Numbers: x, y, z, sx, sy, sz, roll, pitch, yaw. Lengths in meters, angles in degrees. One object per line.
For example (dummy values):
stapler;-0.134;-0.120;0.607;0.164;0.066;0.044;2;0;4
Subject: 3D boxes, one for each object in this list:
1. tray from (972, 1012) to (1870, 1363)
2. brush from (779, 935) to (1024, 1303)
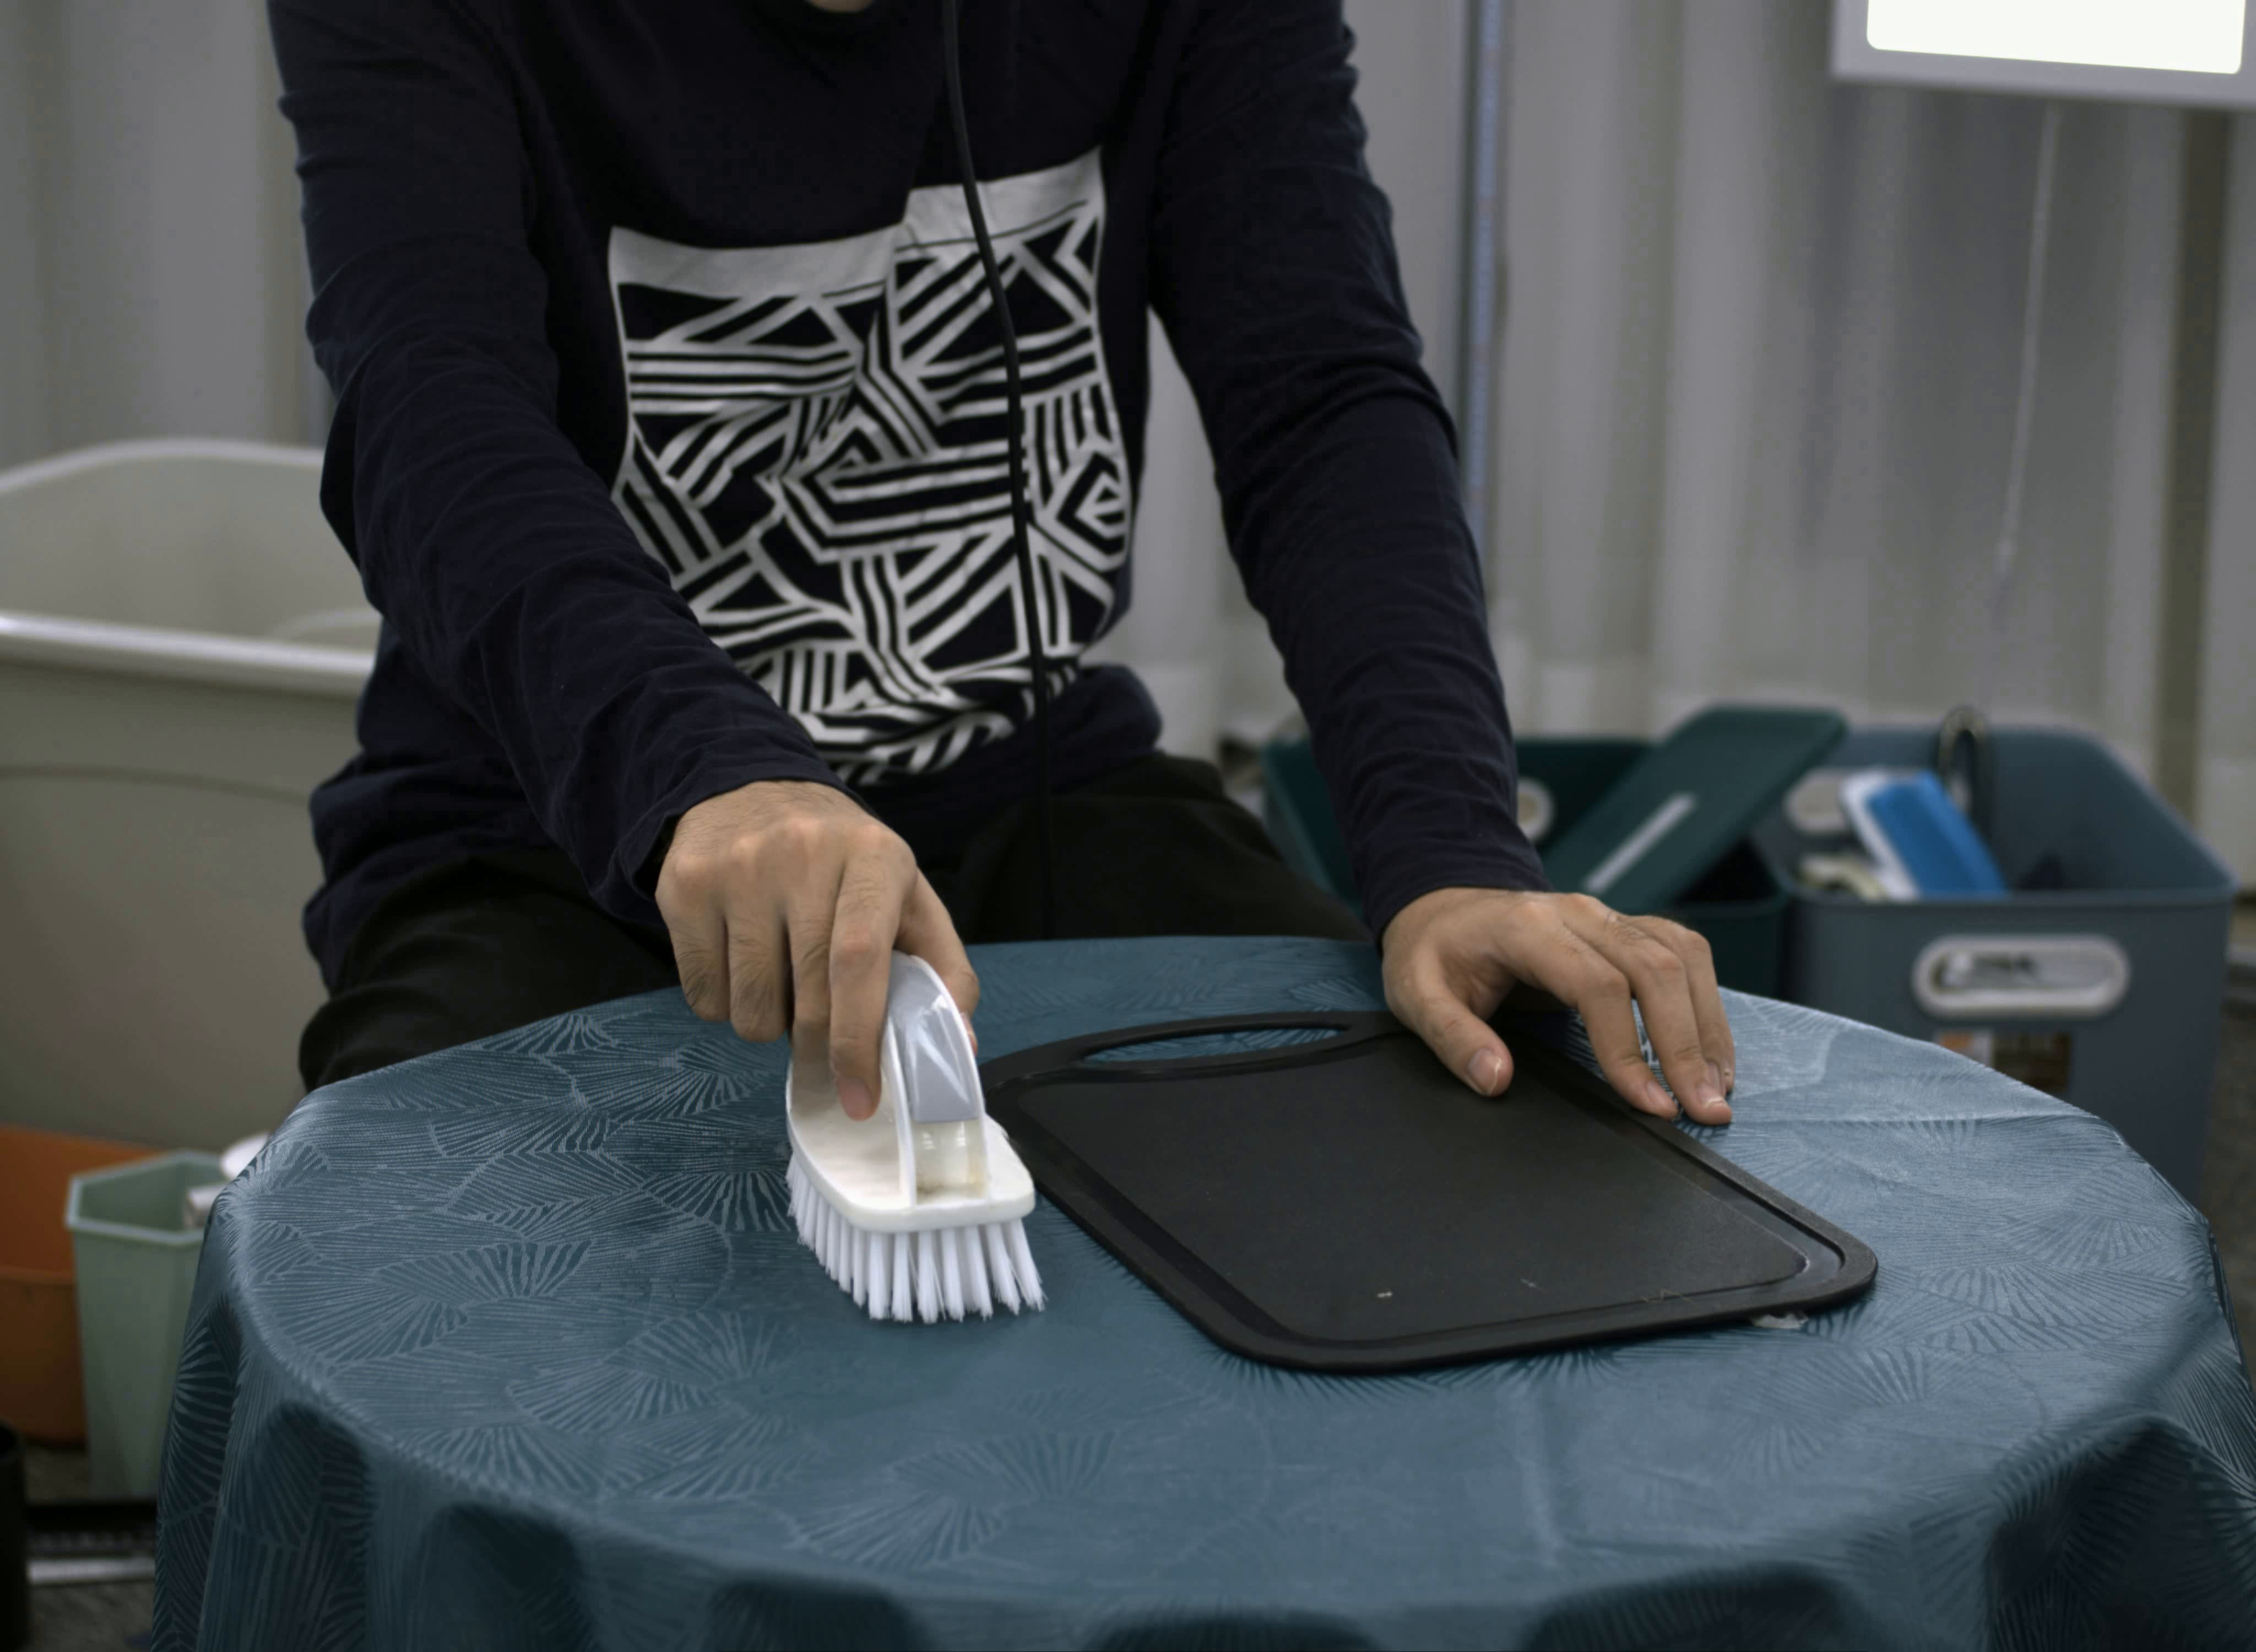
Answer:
tray;0.077;0.105;1.641;0.211;0.010;0.322;-5;16;-20
brush;-0.075;0.077;1.577;0.061;0.095;0.174;-3;14;-15
